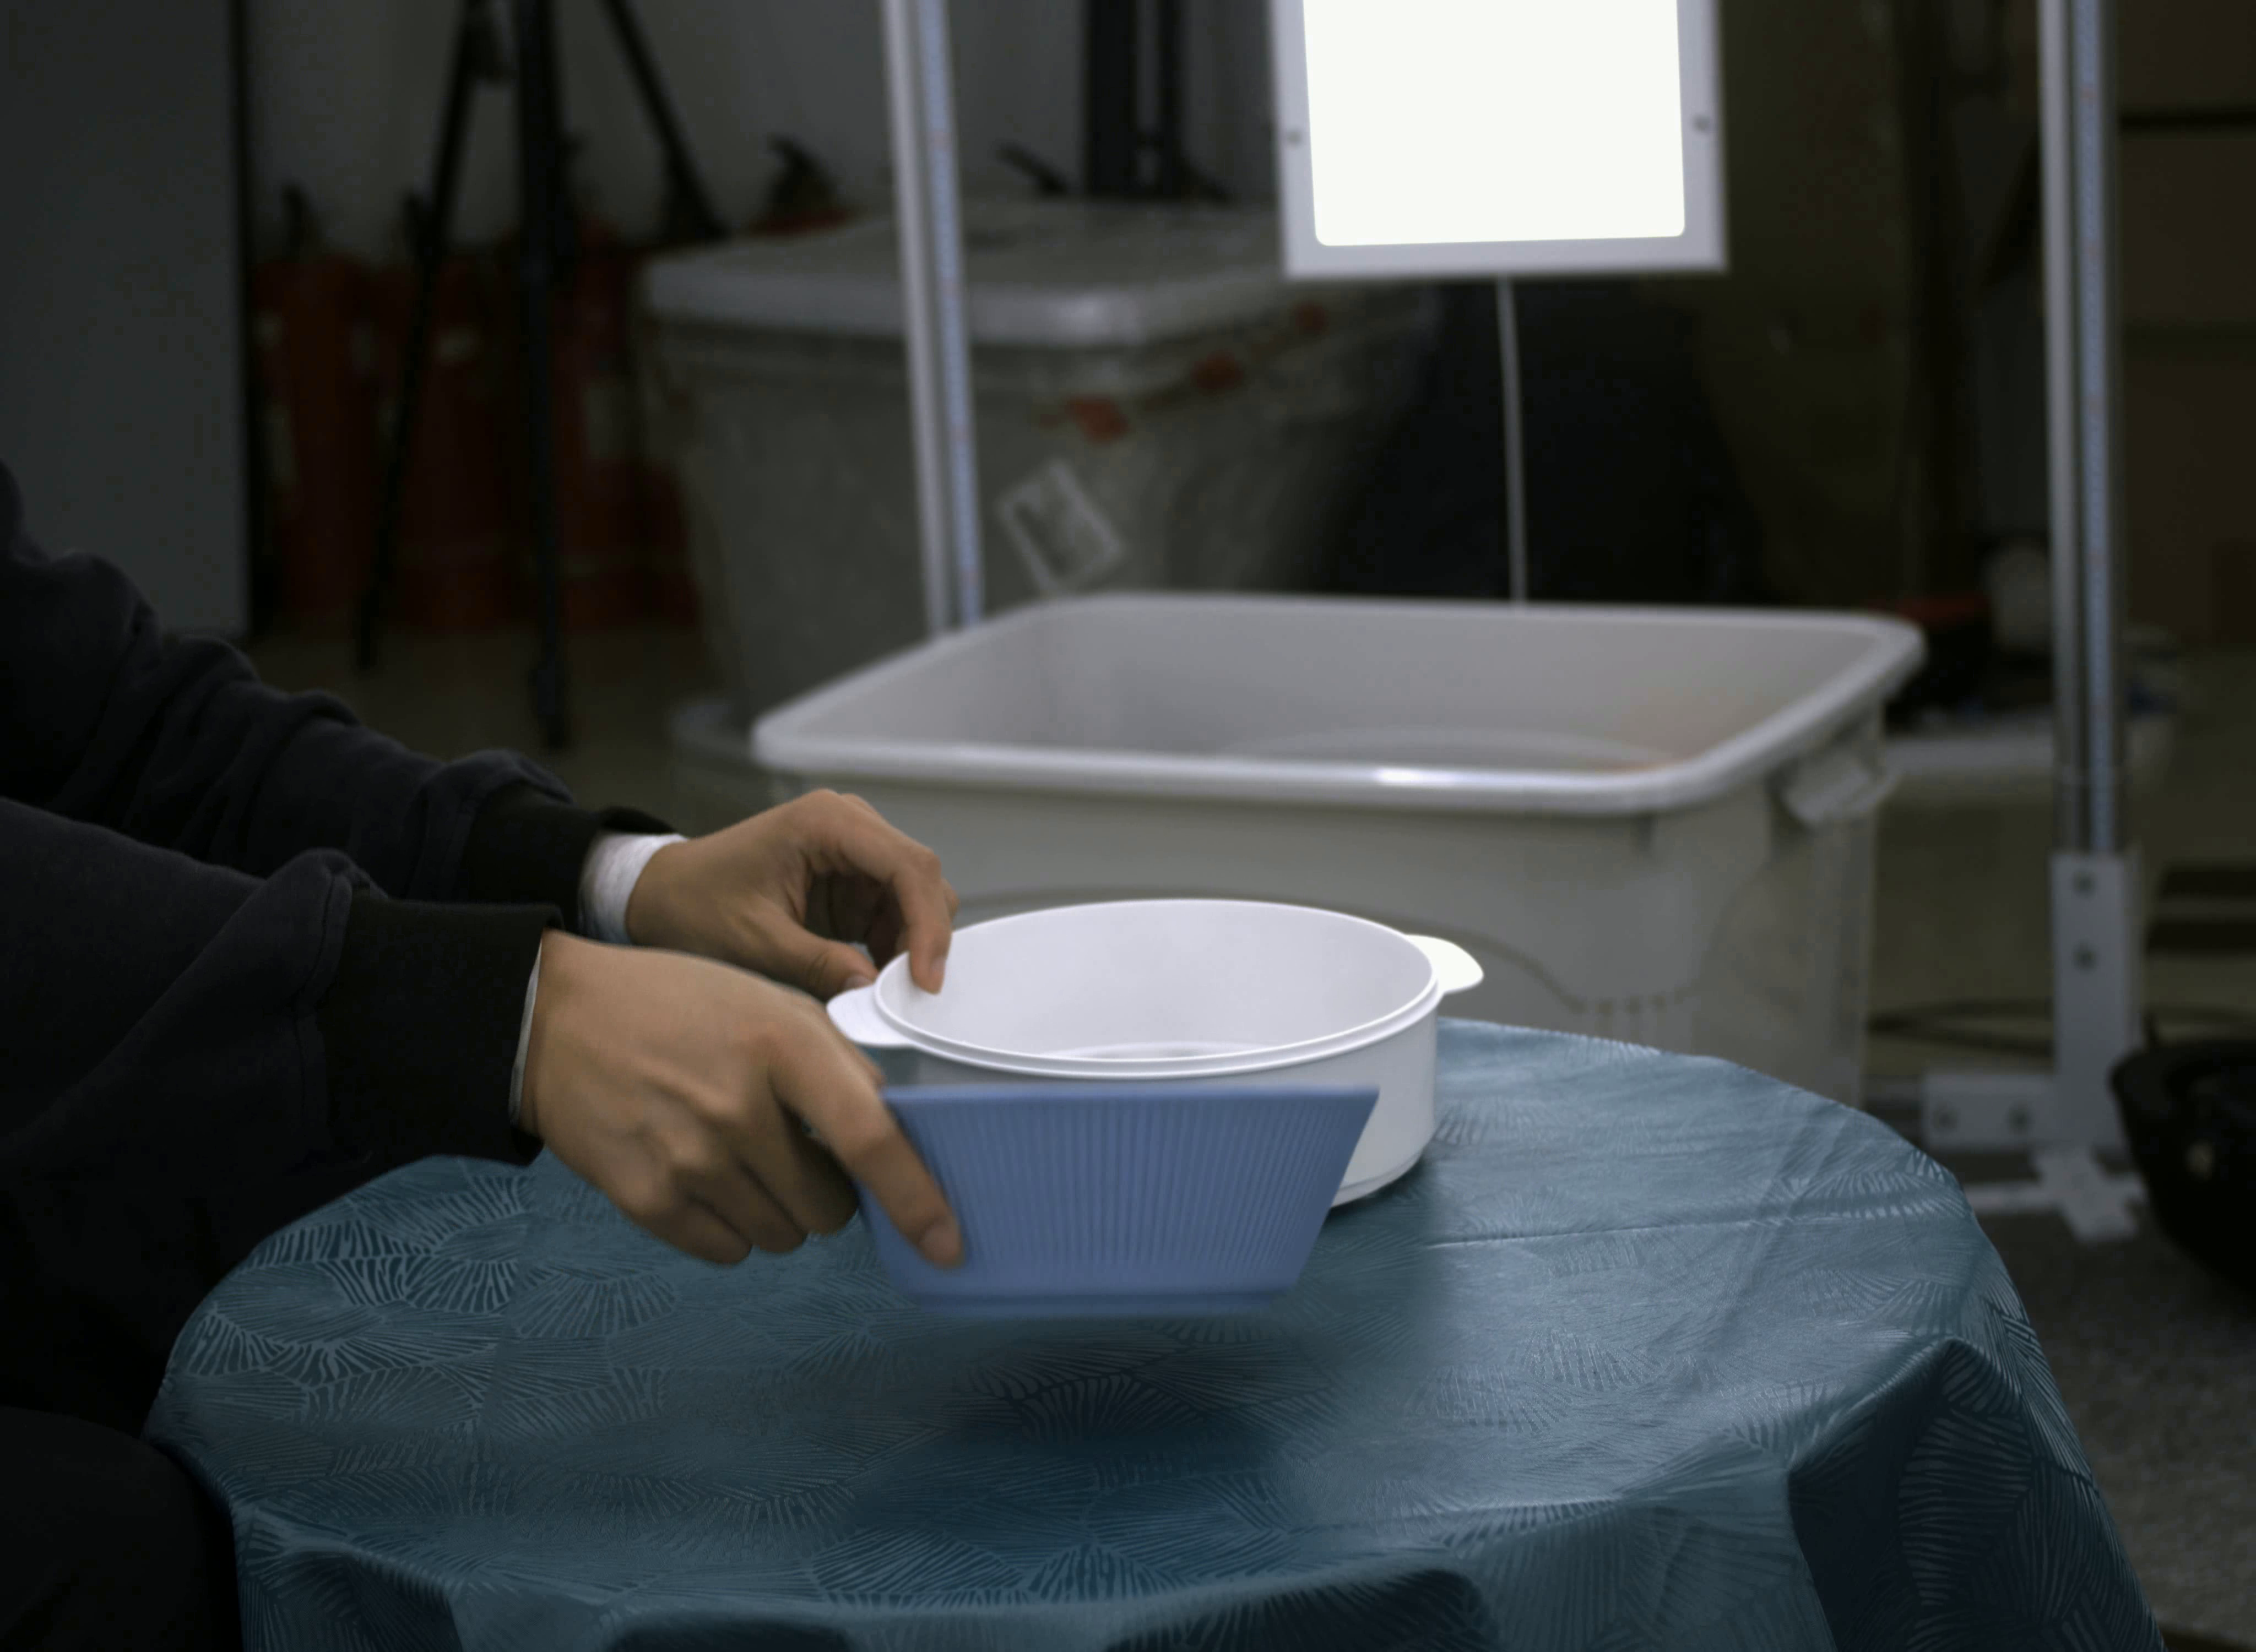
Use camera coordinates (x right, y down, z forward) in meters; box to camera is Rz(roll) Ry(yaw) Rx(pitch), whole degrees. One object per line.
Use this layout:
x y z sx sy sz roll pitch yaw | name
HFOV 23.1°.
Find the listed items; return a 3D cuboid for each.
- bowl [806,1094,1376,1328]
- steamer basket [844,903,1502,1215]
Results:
-0.011 0.117 1.682 0.175 0.070 0.176 0 -3 -1 | bowl
0.017 0.083 1.915 0.228 0.069 0.203 -4 14 -11 | steamer basket
